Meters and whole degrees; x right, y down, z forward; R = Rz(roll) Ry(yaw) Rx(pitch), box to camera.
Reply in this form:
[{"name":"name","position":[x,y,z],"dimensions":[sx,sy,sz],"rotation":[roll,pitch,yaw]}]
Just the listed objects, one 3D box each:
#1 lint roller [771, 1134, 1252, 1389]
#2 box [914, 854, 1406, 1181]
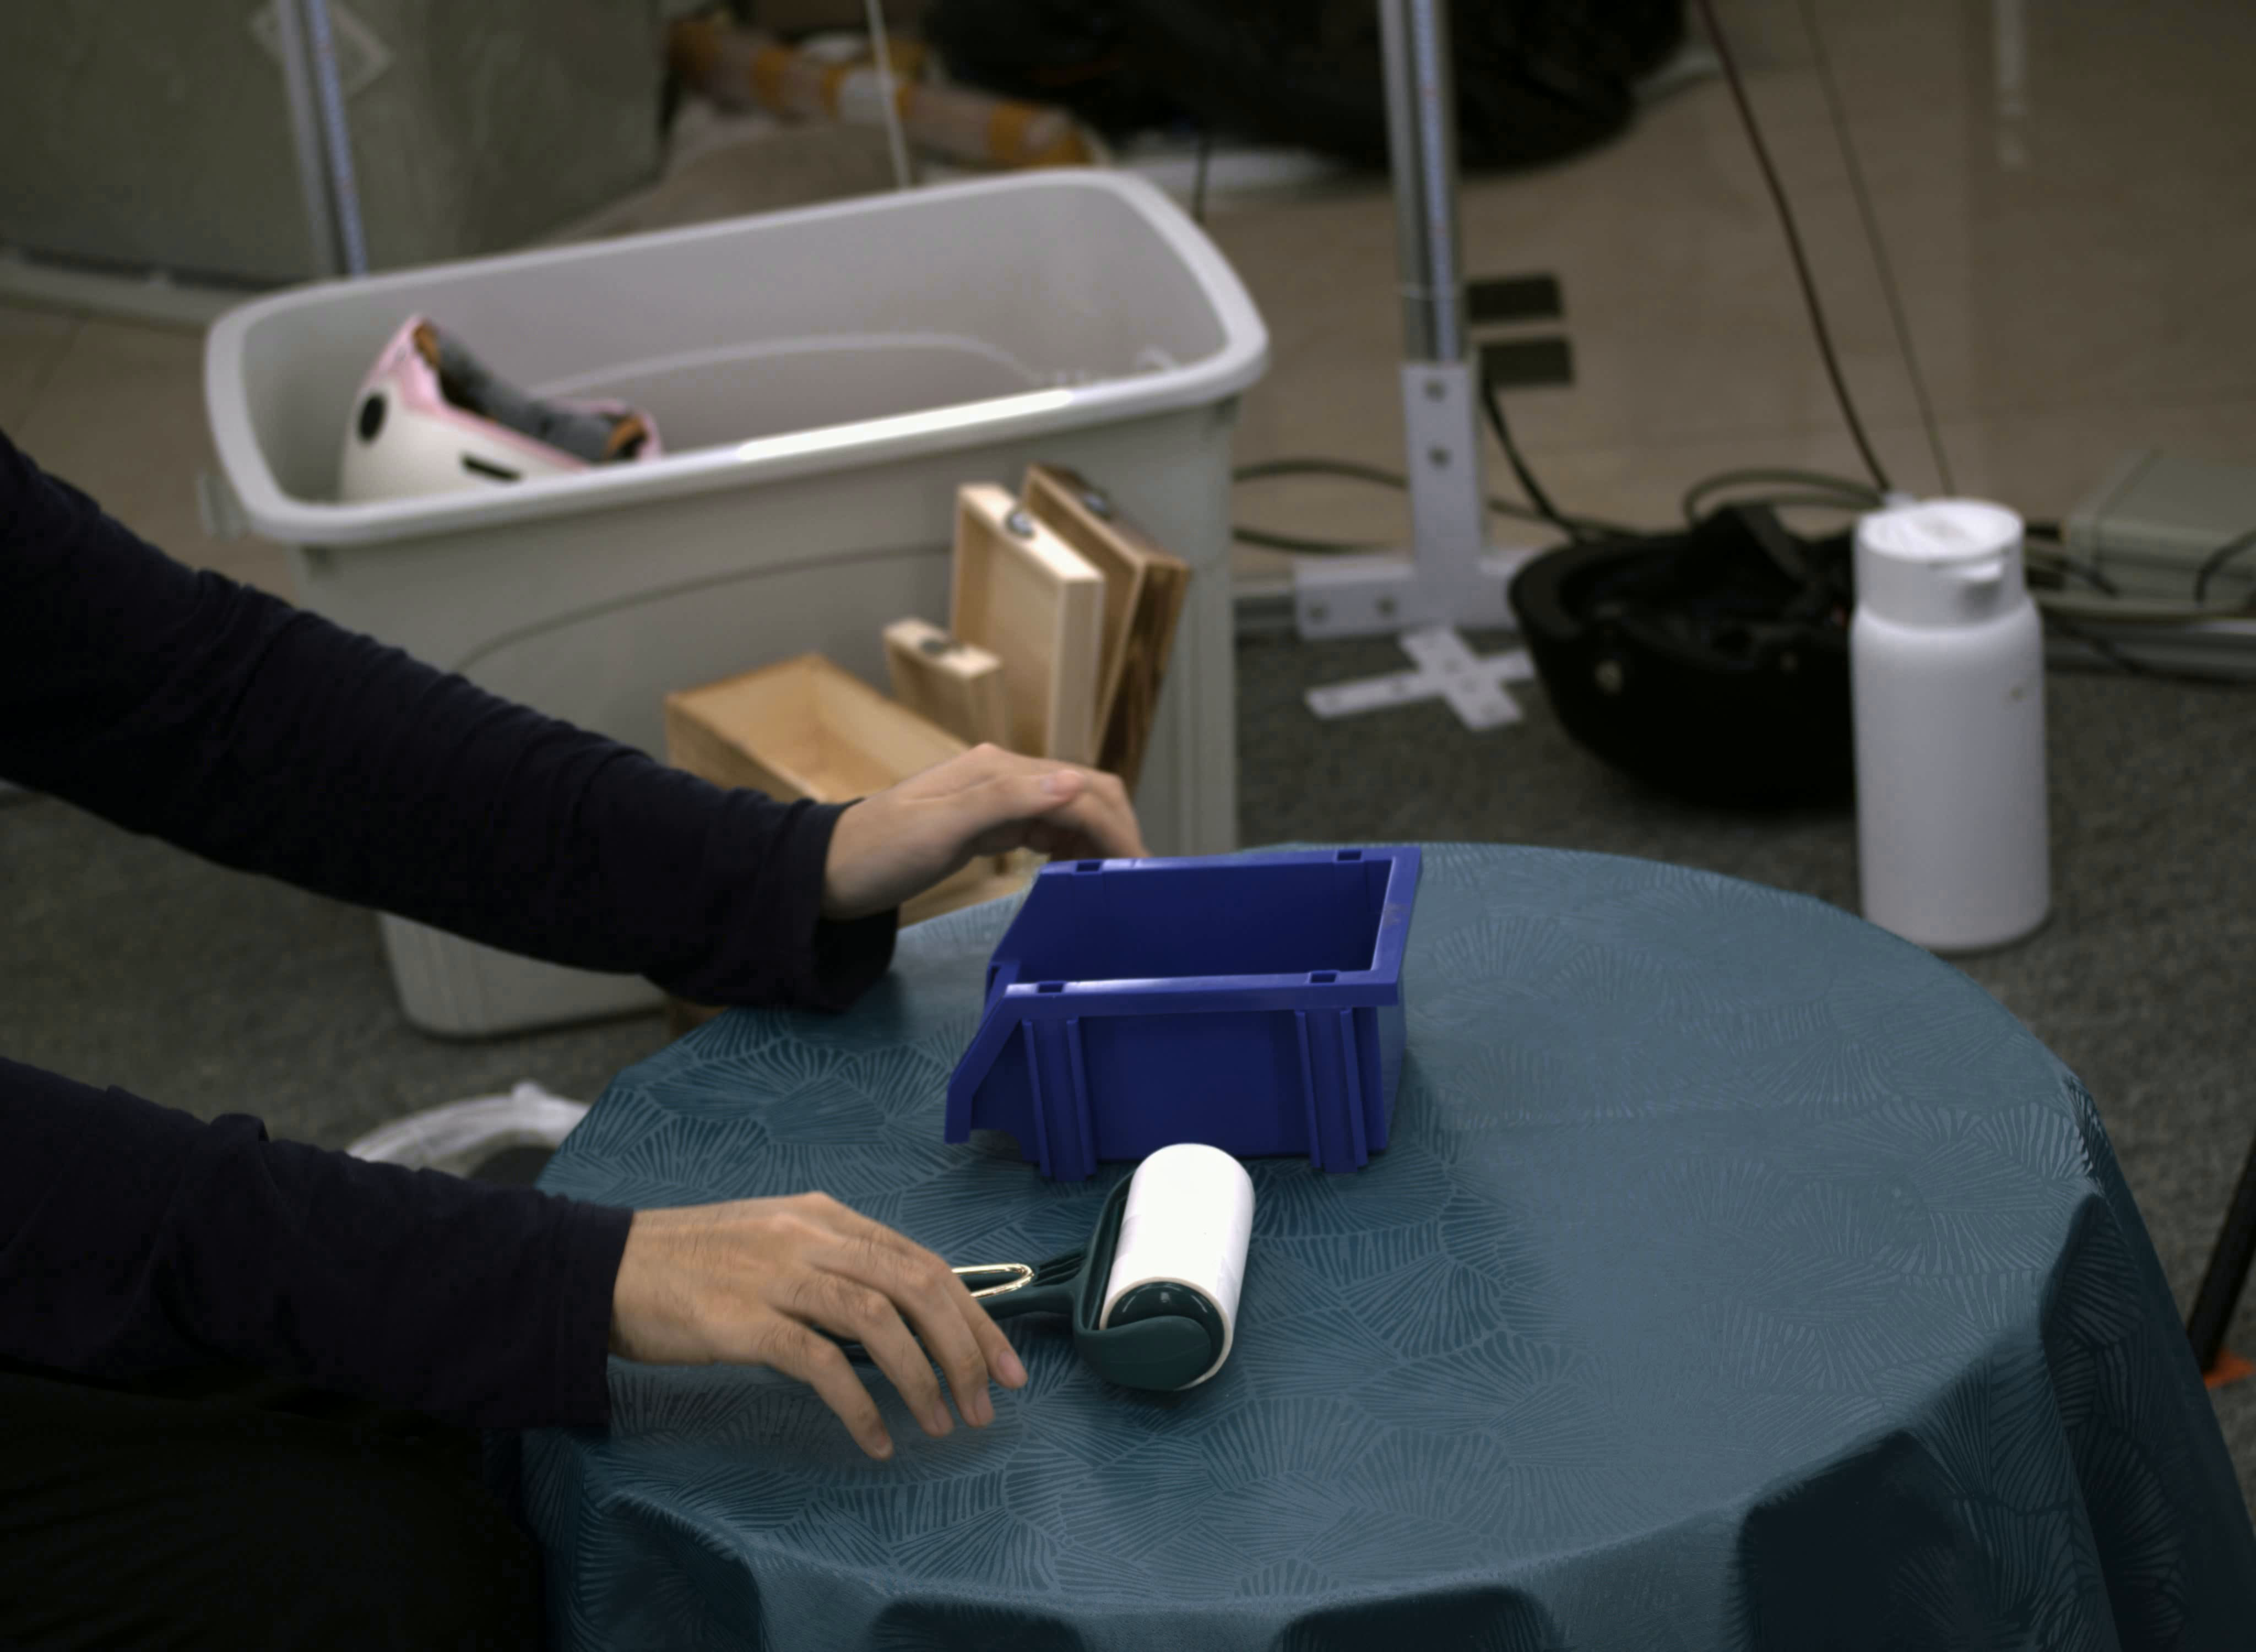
[{"name":"lint roller","position":[-0.047,0.166,2.060],"dimensions":[0.180,0.049,0.132],"rotation":[-7,25,10]},{"name":"box","position":[0.013,0.073,2.192],"dimensions":[0.179,0.083,0.122],"rotation":[1,27,10]}]
